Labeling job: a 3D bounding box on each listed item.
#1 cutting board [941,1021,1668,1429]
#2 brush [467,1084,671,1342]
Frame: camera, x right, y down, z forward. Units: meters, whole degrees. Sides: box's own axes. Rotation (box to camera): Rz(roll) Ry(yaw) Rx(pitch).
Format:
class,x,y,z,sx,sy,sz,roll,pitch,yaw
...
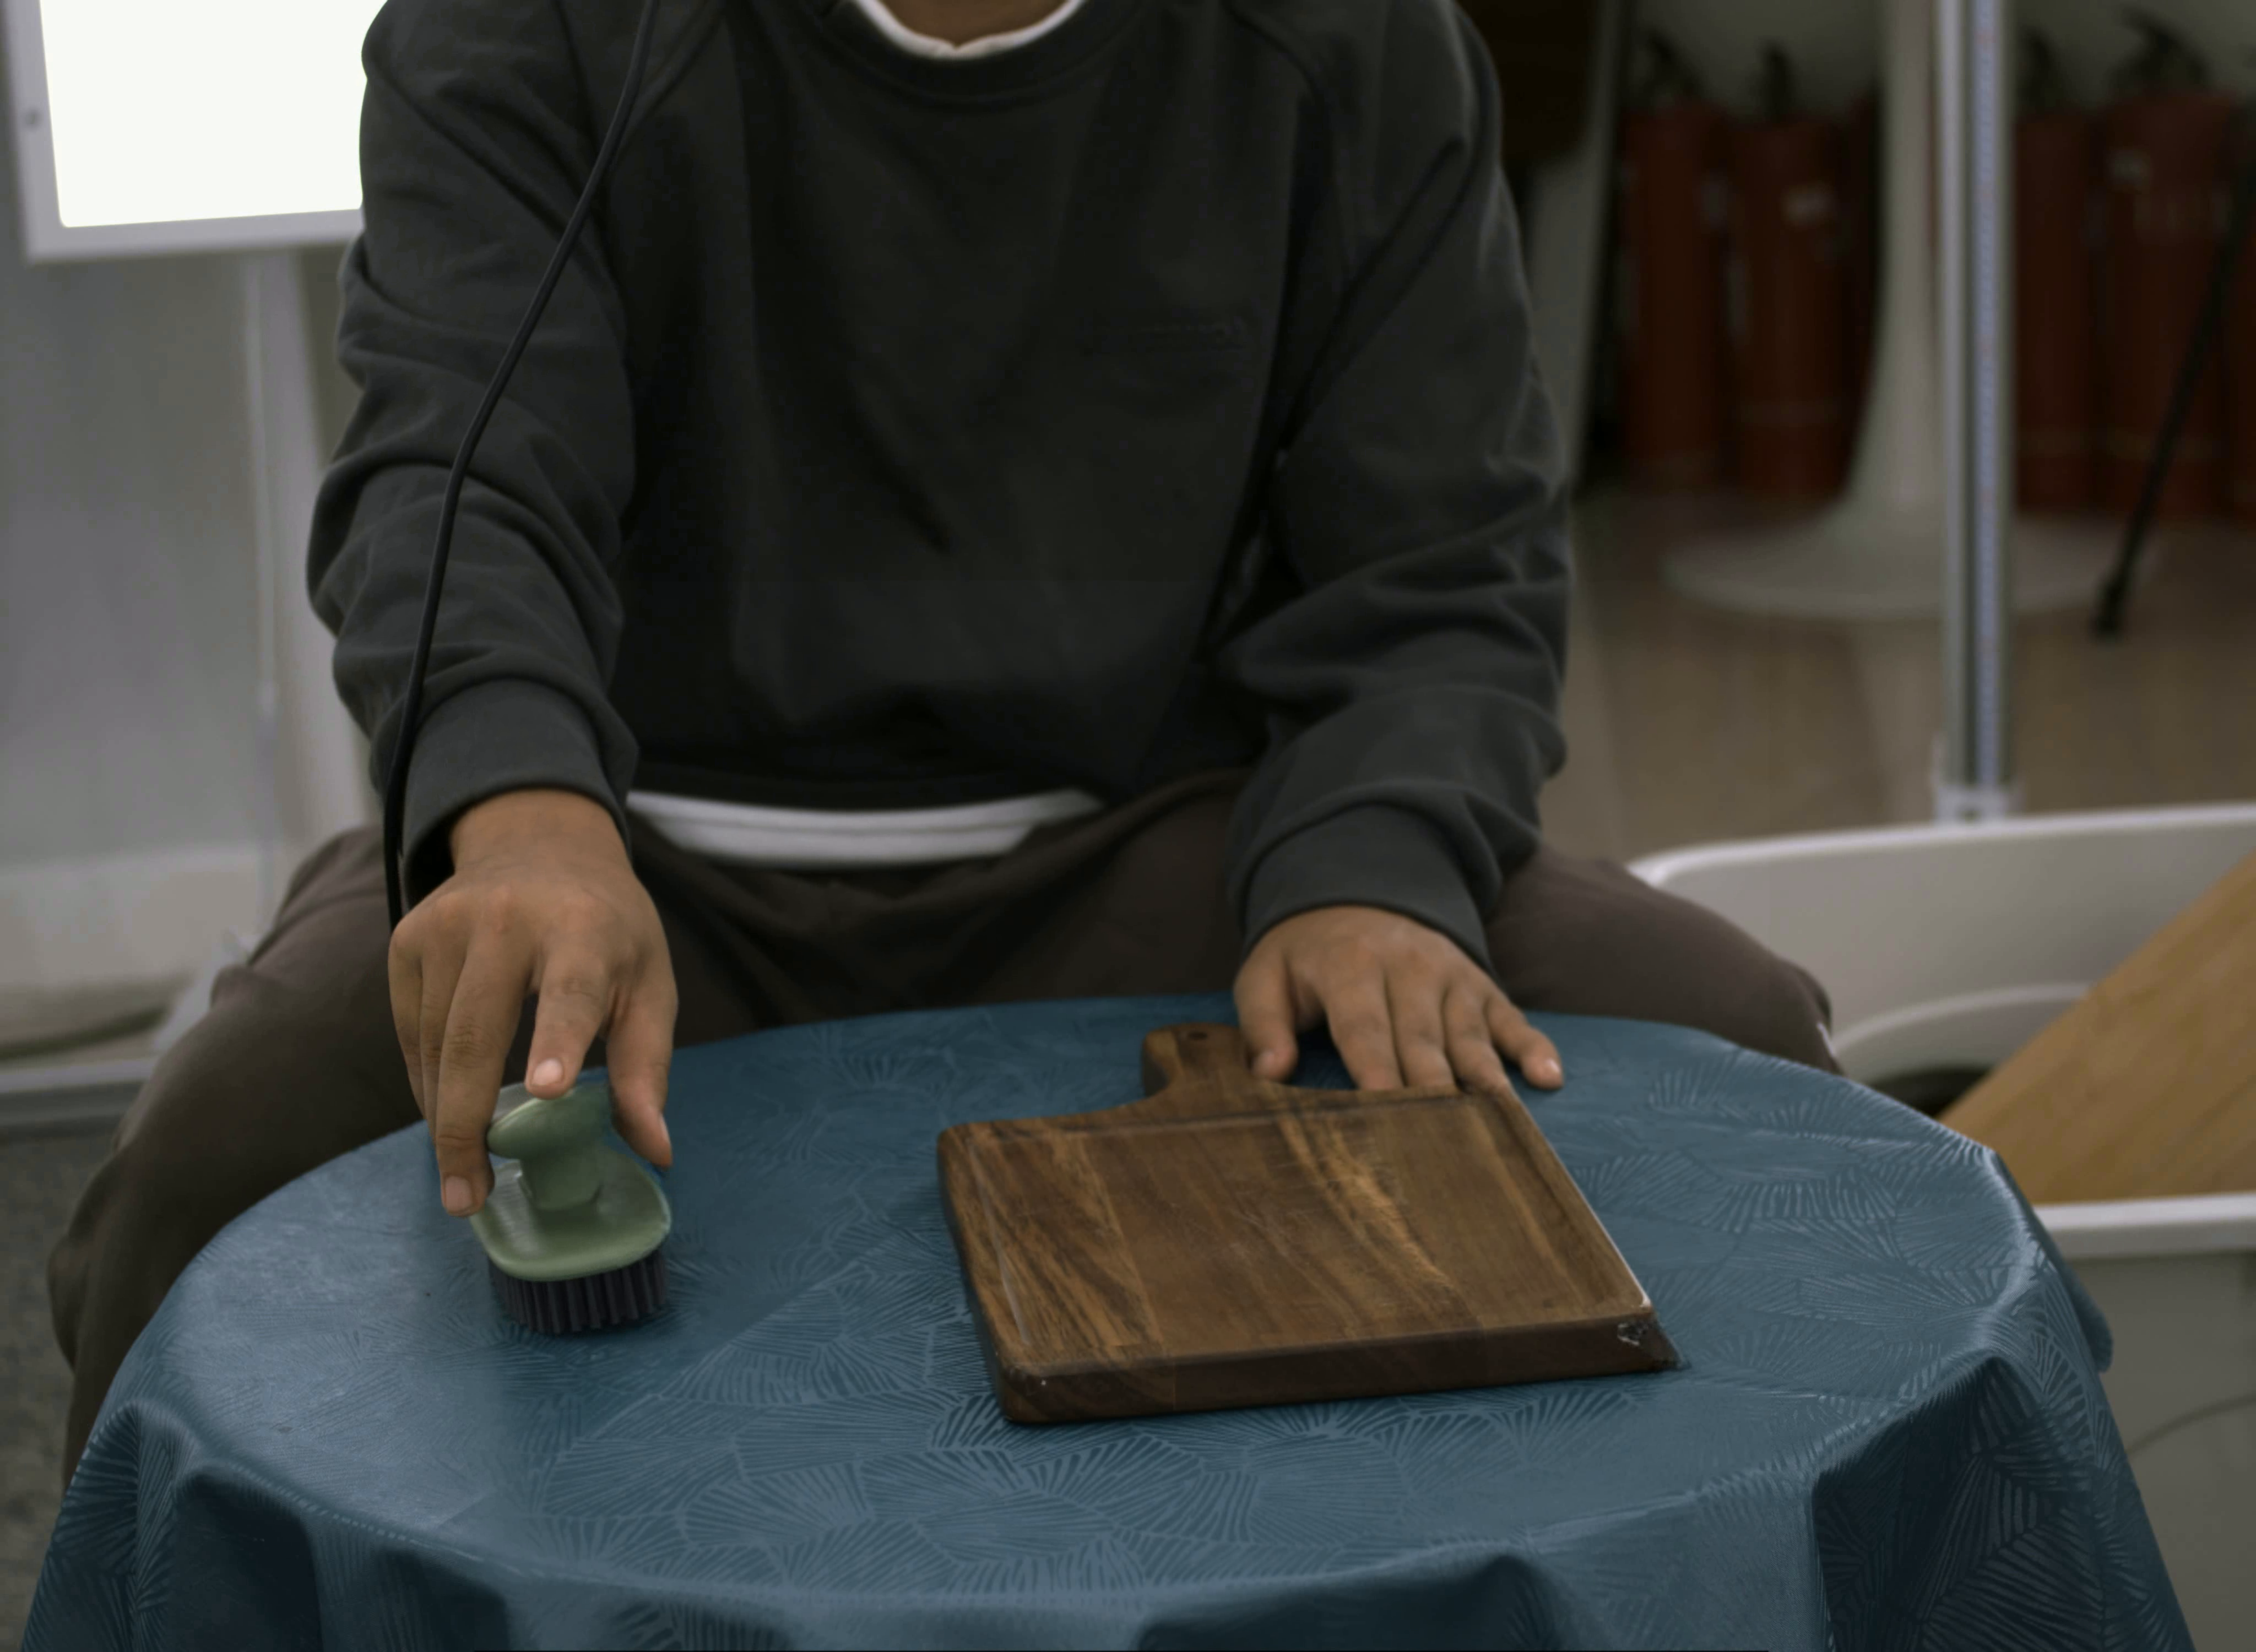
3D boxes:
class,x,y,z,sx,sy,sz,roll,pitch,yaw
cutting board,0.043,0.118,1.730,0.198,0.023,0.353,-5,14,-5
brush,-0.177,0.120,1.708,0.058,0.076,0.123,-10,1,-12
